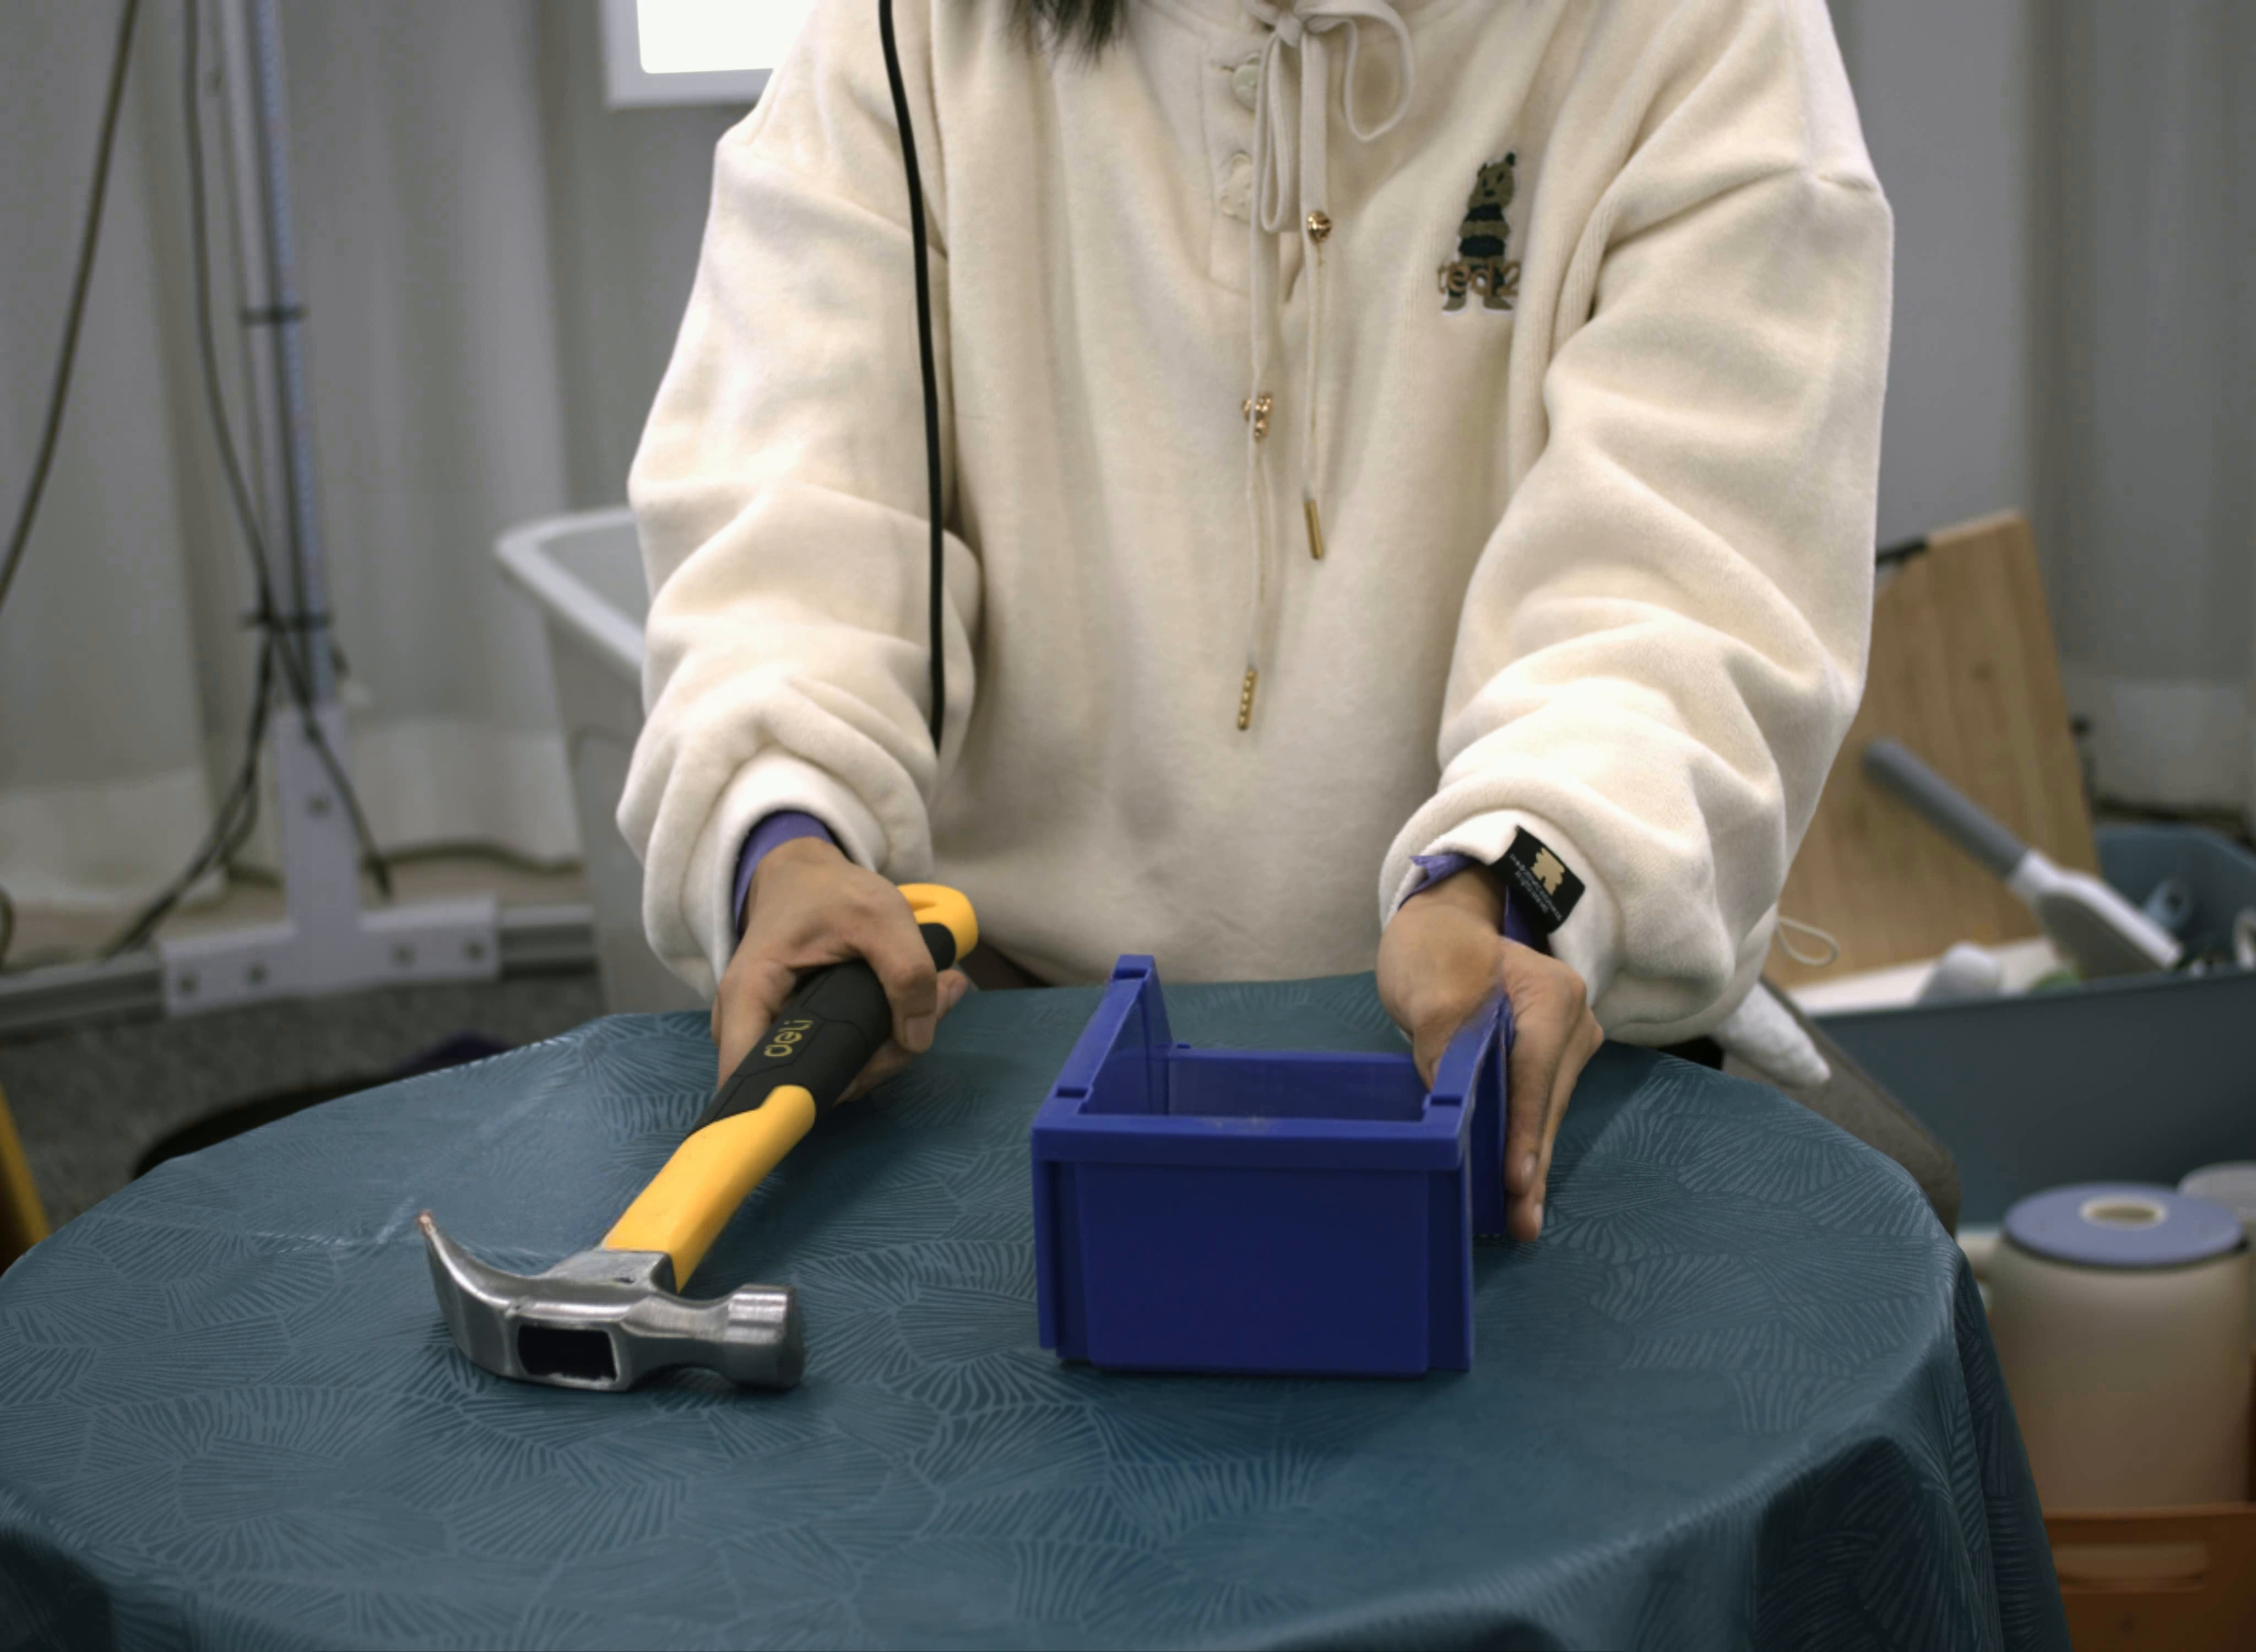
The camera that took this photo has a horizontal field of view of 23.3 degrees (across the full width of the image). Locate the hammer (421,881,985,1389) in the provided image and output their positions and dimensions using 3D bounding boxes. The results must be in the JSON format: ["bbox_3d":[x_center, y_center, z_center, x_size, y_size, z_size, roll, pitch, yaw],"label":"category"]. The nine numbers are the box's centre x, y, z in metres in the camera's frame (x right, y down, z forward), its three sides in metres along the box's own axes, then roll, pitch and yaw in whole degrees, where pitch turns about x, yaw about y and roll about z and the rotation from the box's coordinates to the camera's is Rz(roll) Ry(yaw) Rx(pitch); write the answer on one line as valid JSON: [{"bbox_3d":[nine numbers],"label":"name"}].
[{"bbox_3d":[-0.114,0.089,1.712,0.131,0.032,0.340,0,21,18],"label":"hammer"}]

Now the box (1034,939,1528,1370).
[{"bbox_3d":[0.047,0.092,1.617,0.124,0.081,0.180,1,19,10],"label":"box"}]
